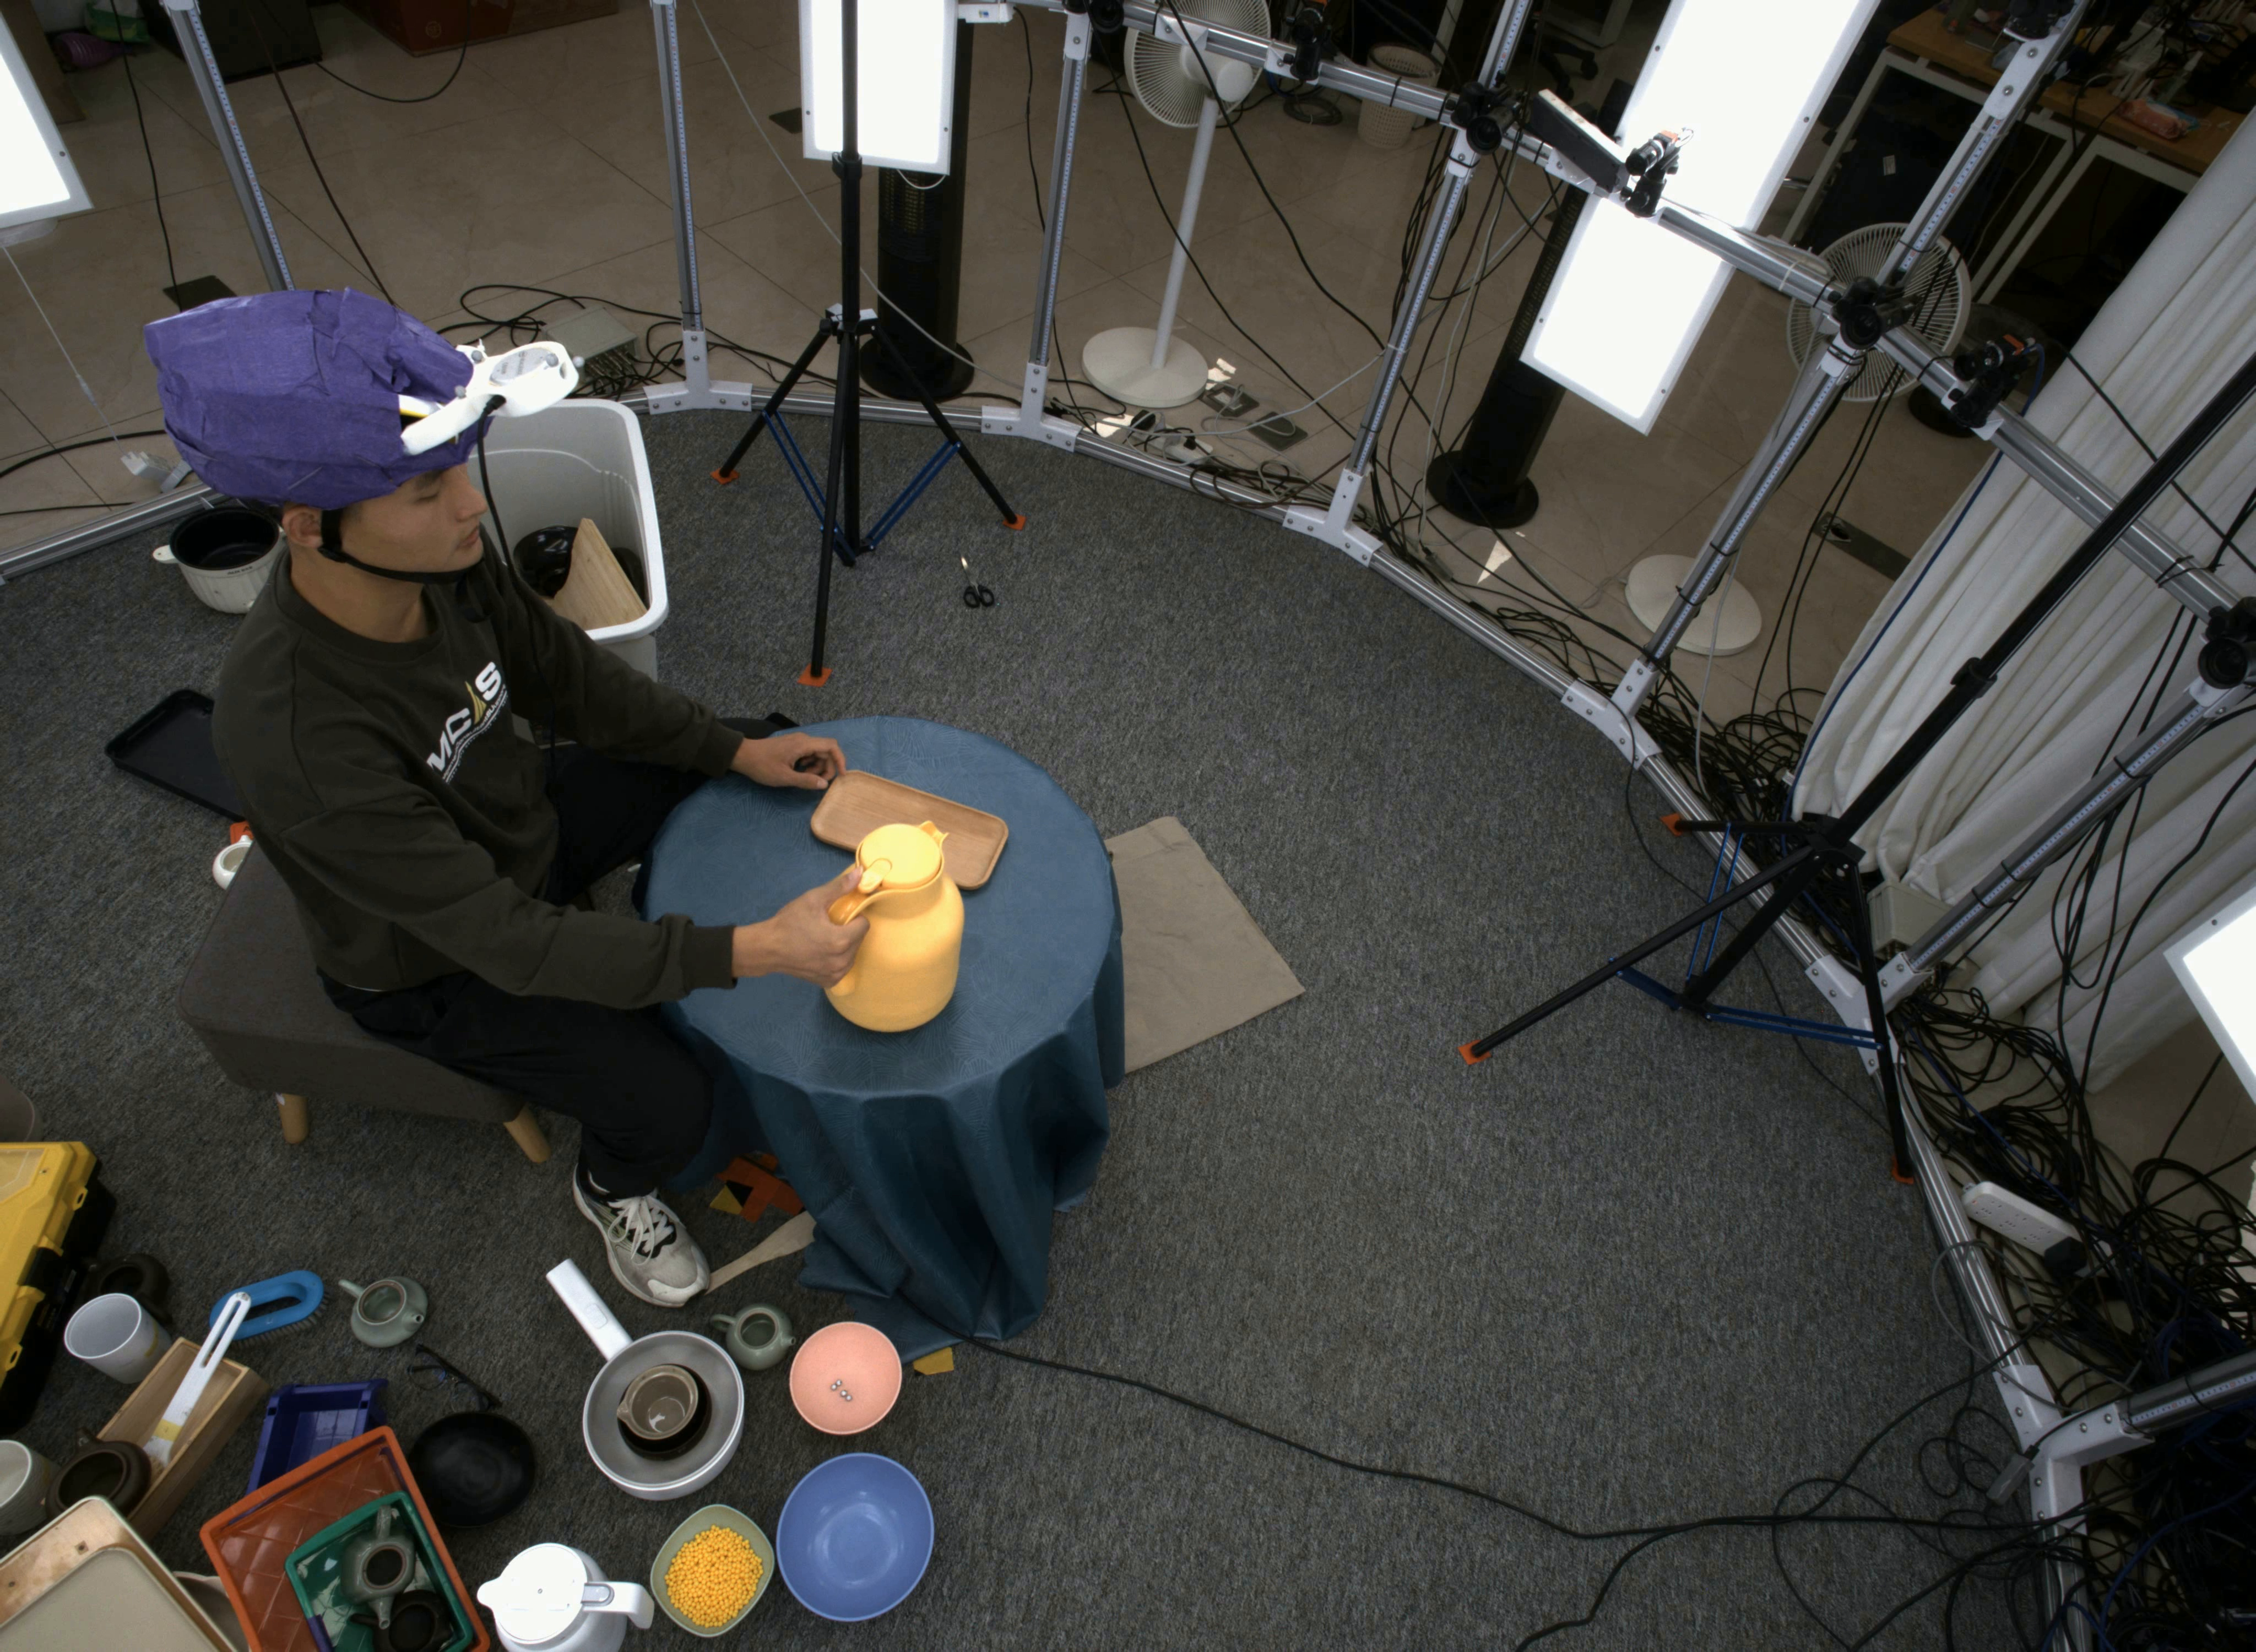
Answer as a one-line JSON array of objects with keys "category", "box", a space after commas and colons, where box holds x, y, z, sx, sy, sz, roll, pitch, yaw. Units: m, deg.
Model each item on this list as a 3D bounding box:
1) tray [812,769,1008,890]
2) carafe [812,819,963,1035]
[{"category": "tray", "box": [-0.293, 0.004, 1.753, 0.248, 0.023, 0.129, 19, 49, 2]}, {"category": "carafe", "box": [-0.285, 0.121, 1.503, 0.159, 0.267, 0.202, 32, 48, 19]}]
